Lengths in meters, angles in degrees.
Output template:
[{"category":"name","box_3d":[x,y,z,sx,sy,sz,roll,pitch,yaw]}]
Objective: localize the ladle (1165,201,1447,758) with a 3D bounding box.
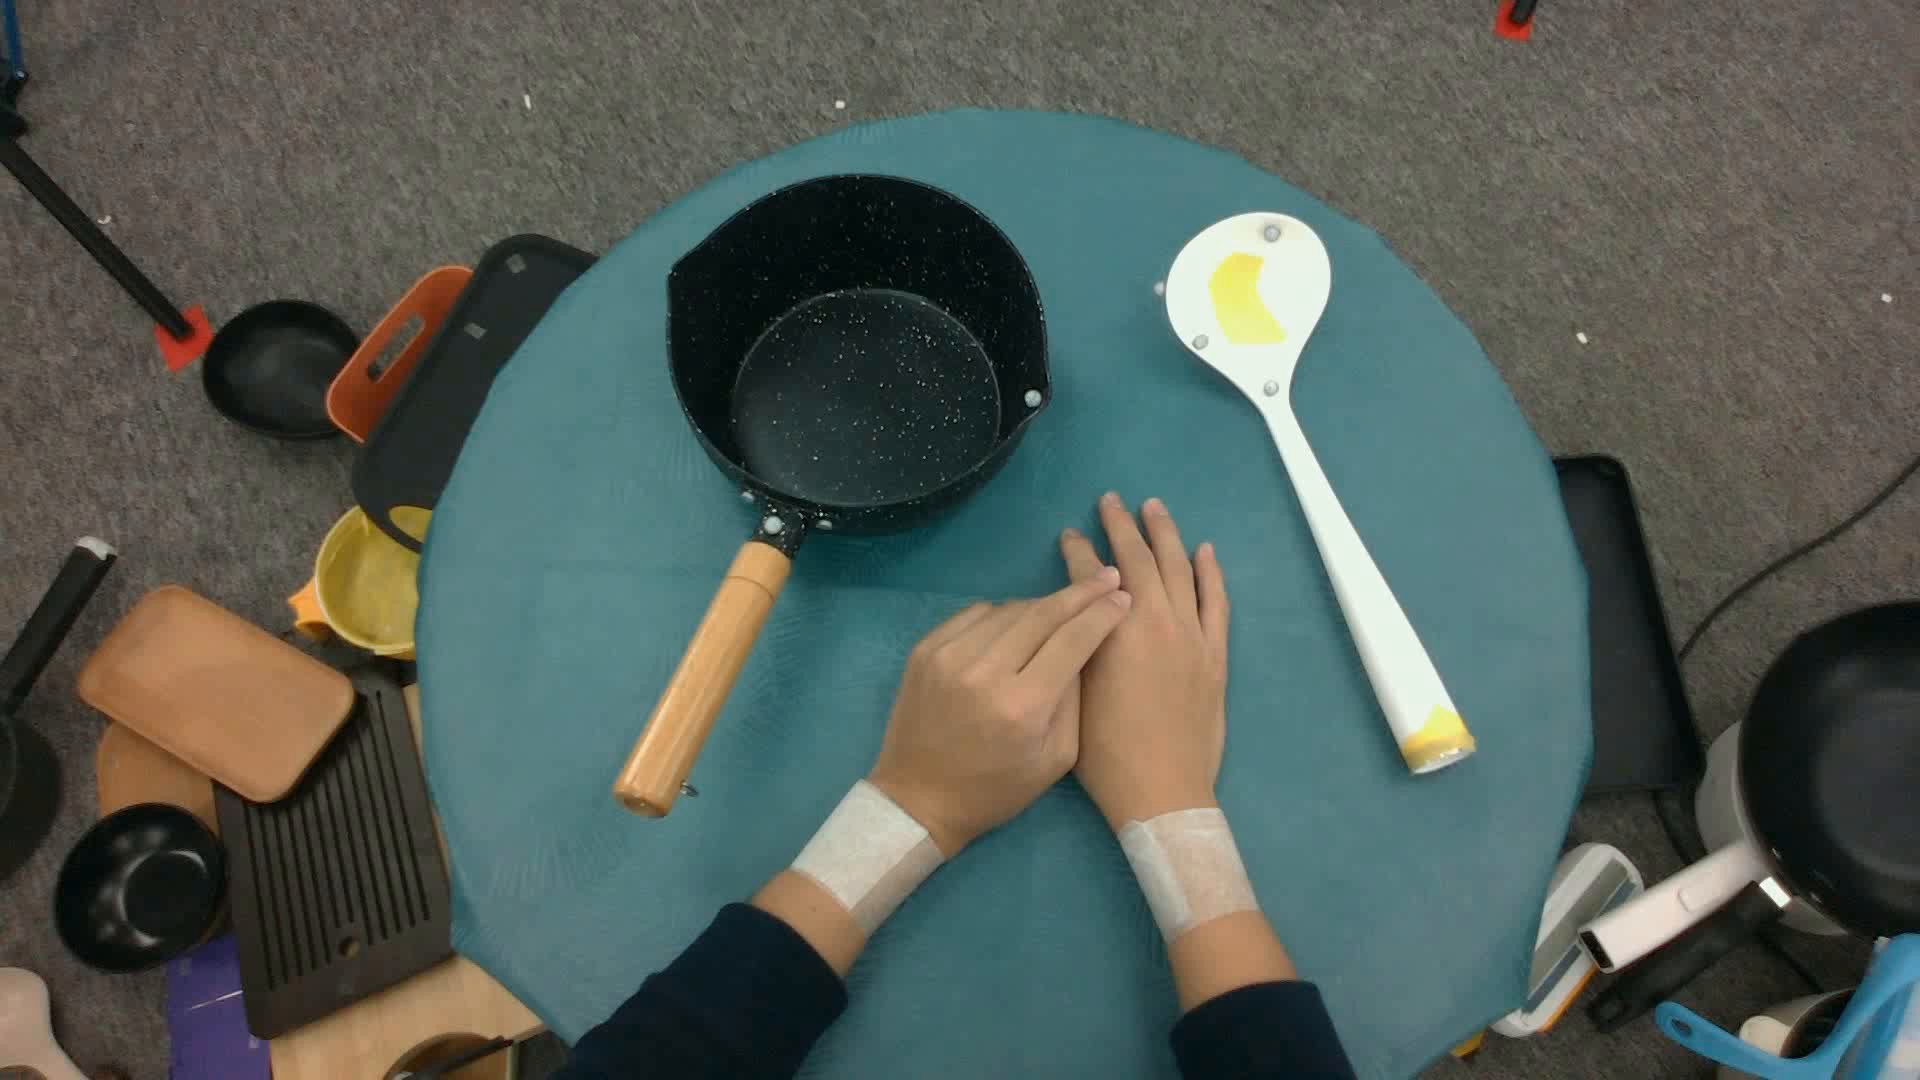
[{"category":"ladle","box_3d":[0.184,-0.036,0.708,0.090,0.069,0.293,-14,70,-13]}]

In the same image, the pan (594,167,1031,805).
[{"category":"pan","box_3d":[-0.086,-0.024,0.674,0.207,0.108,0.344,17,68,4]}]
